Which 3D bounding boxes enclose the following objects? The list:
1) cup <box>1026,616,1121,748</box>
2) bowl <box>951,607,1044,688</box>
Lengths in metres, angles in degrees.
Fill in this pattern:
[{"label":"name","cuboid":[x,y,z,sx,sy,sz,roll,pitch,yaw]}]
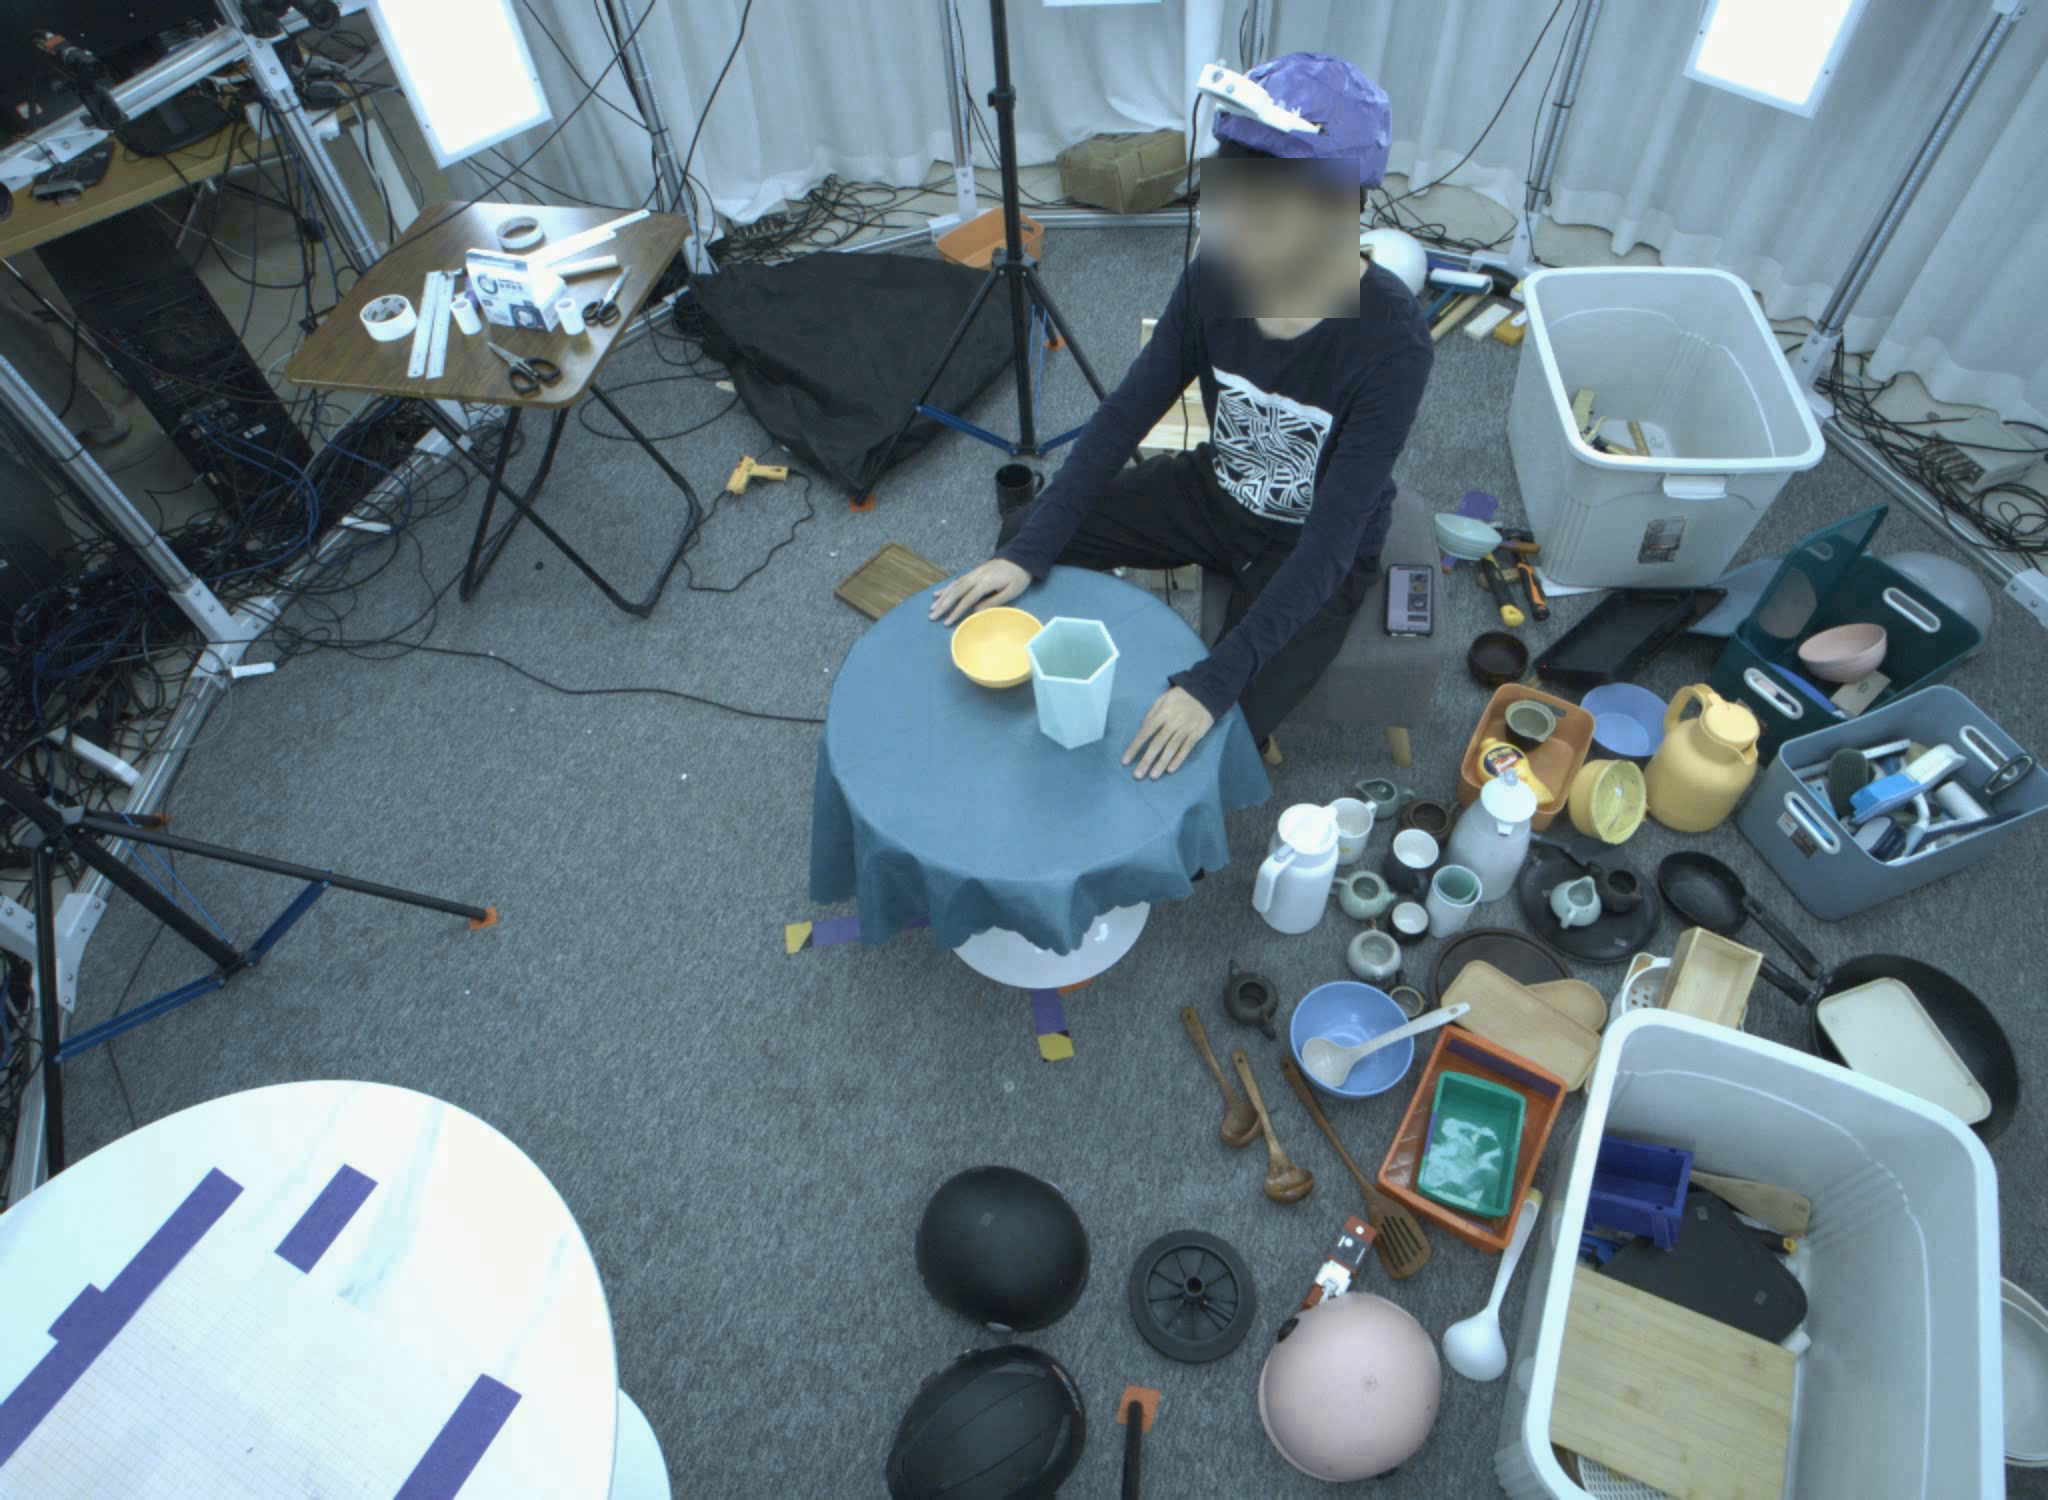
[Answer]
[{"label":"cup","cuboid":[0.069,-0.090,1.740,0.116,0.164,0.129,-19,56,-11]},{"label":"bowl","cuboid":[-0.036,-0.143,1.850,0.145,0.060,0.144,1,54,0]}]
